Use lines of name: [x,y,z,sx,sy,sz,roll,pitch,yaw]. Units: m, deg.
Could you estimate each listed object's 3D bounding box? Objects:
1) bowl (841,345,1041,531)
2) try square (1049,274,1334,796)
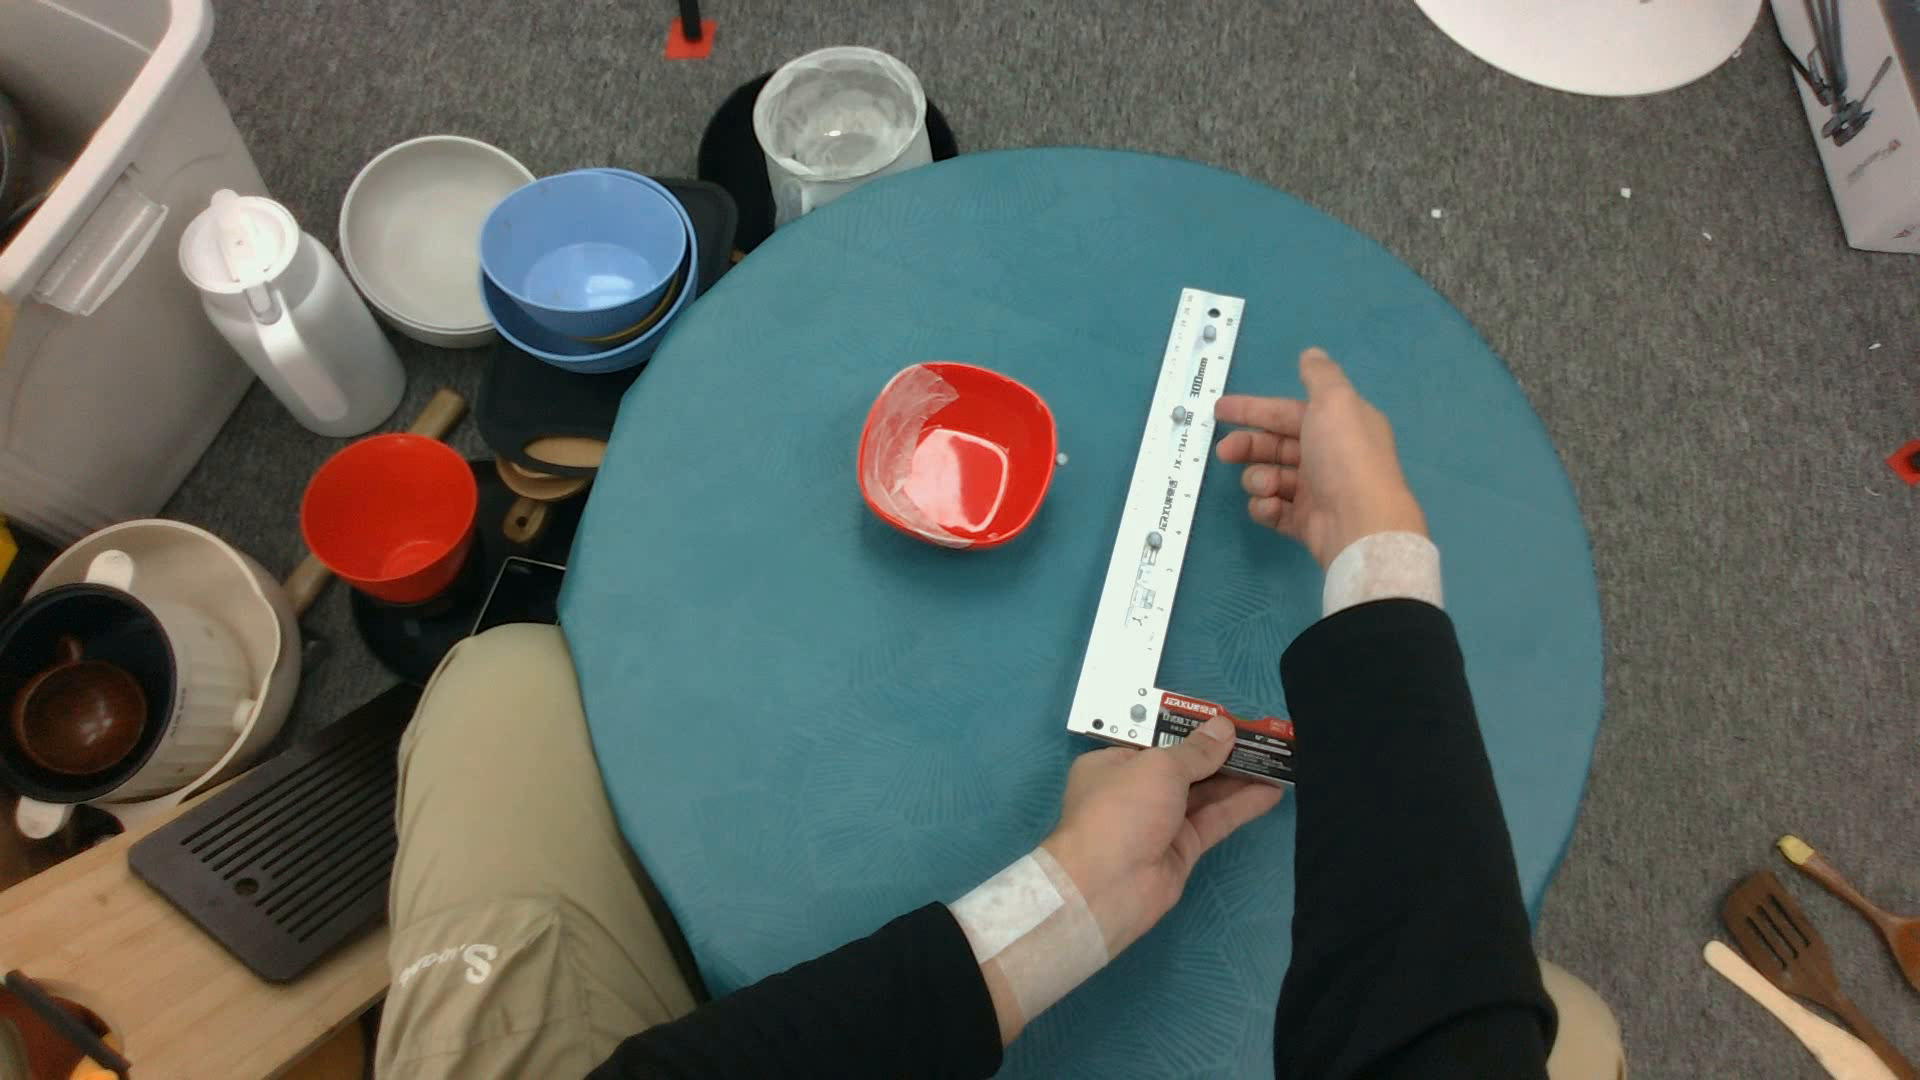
bowl: [-0.013,-0.051,0.791,0.119,0.051,0.119,3,65,-6]
try square: [0.159,-0.017,0.802,0.152,0.016,0.314,15,63,3]
